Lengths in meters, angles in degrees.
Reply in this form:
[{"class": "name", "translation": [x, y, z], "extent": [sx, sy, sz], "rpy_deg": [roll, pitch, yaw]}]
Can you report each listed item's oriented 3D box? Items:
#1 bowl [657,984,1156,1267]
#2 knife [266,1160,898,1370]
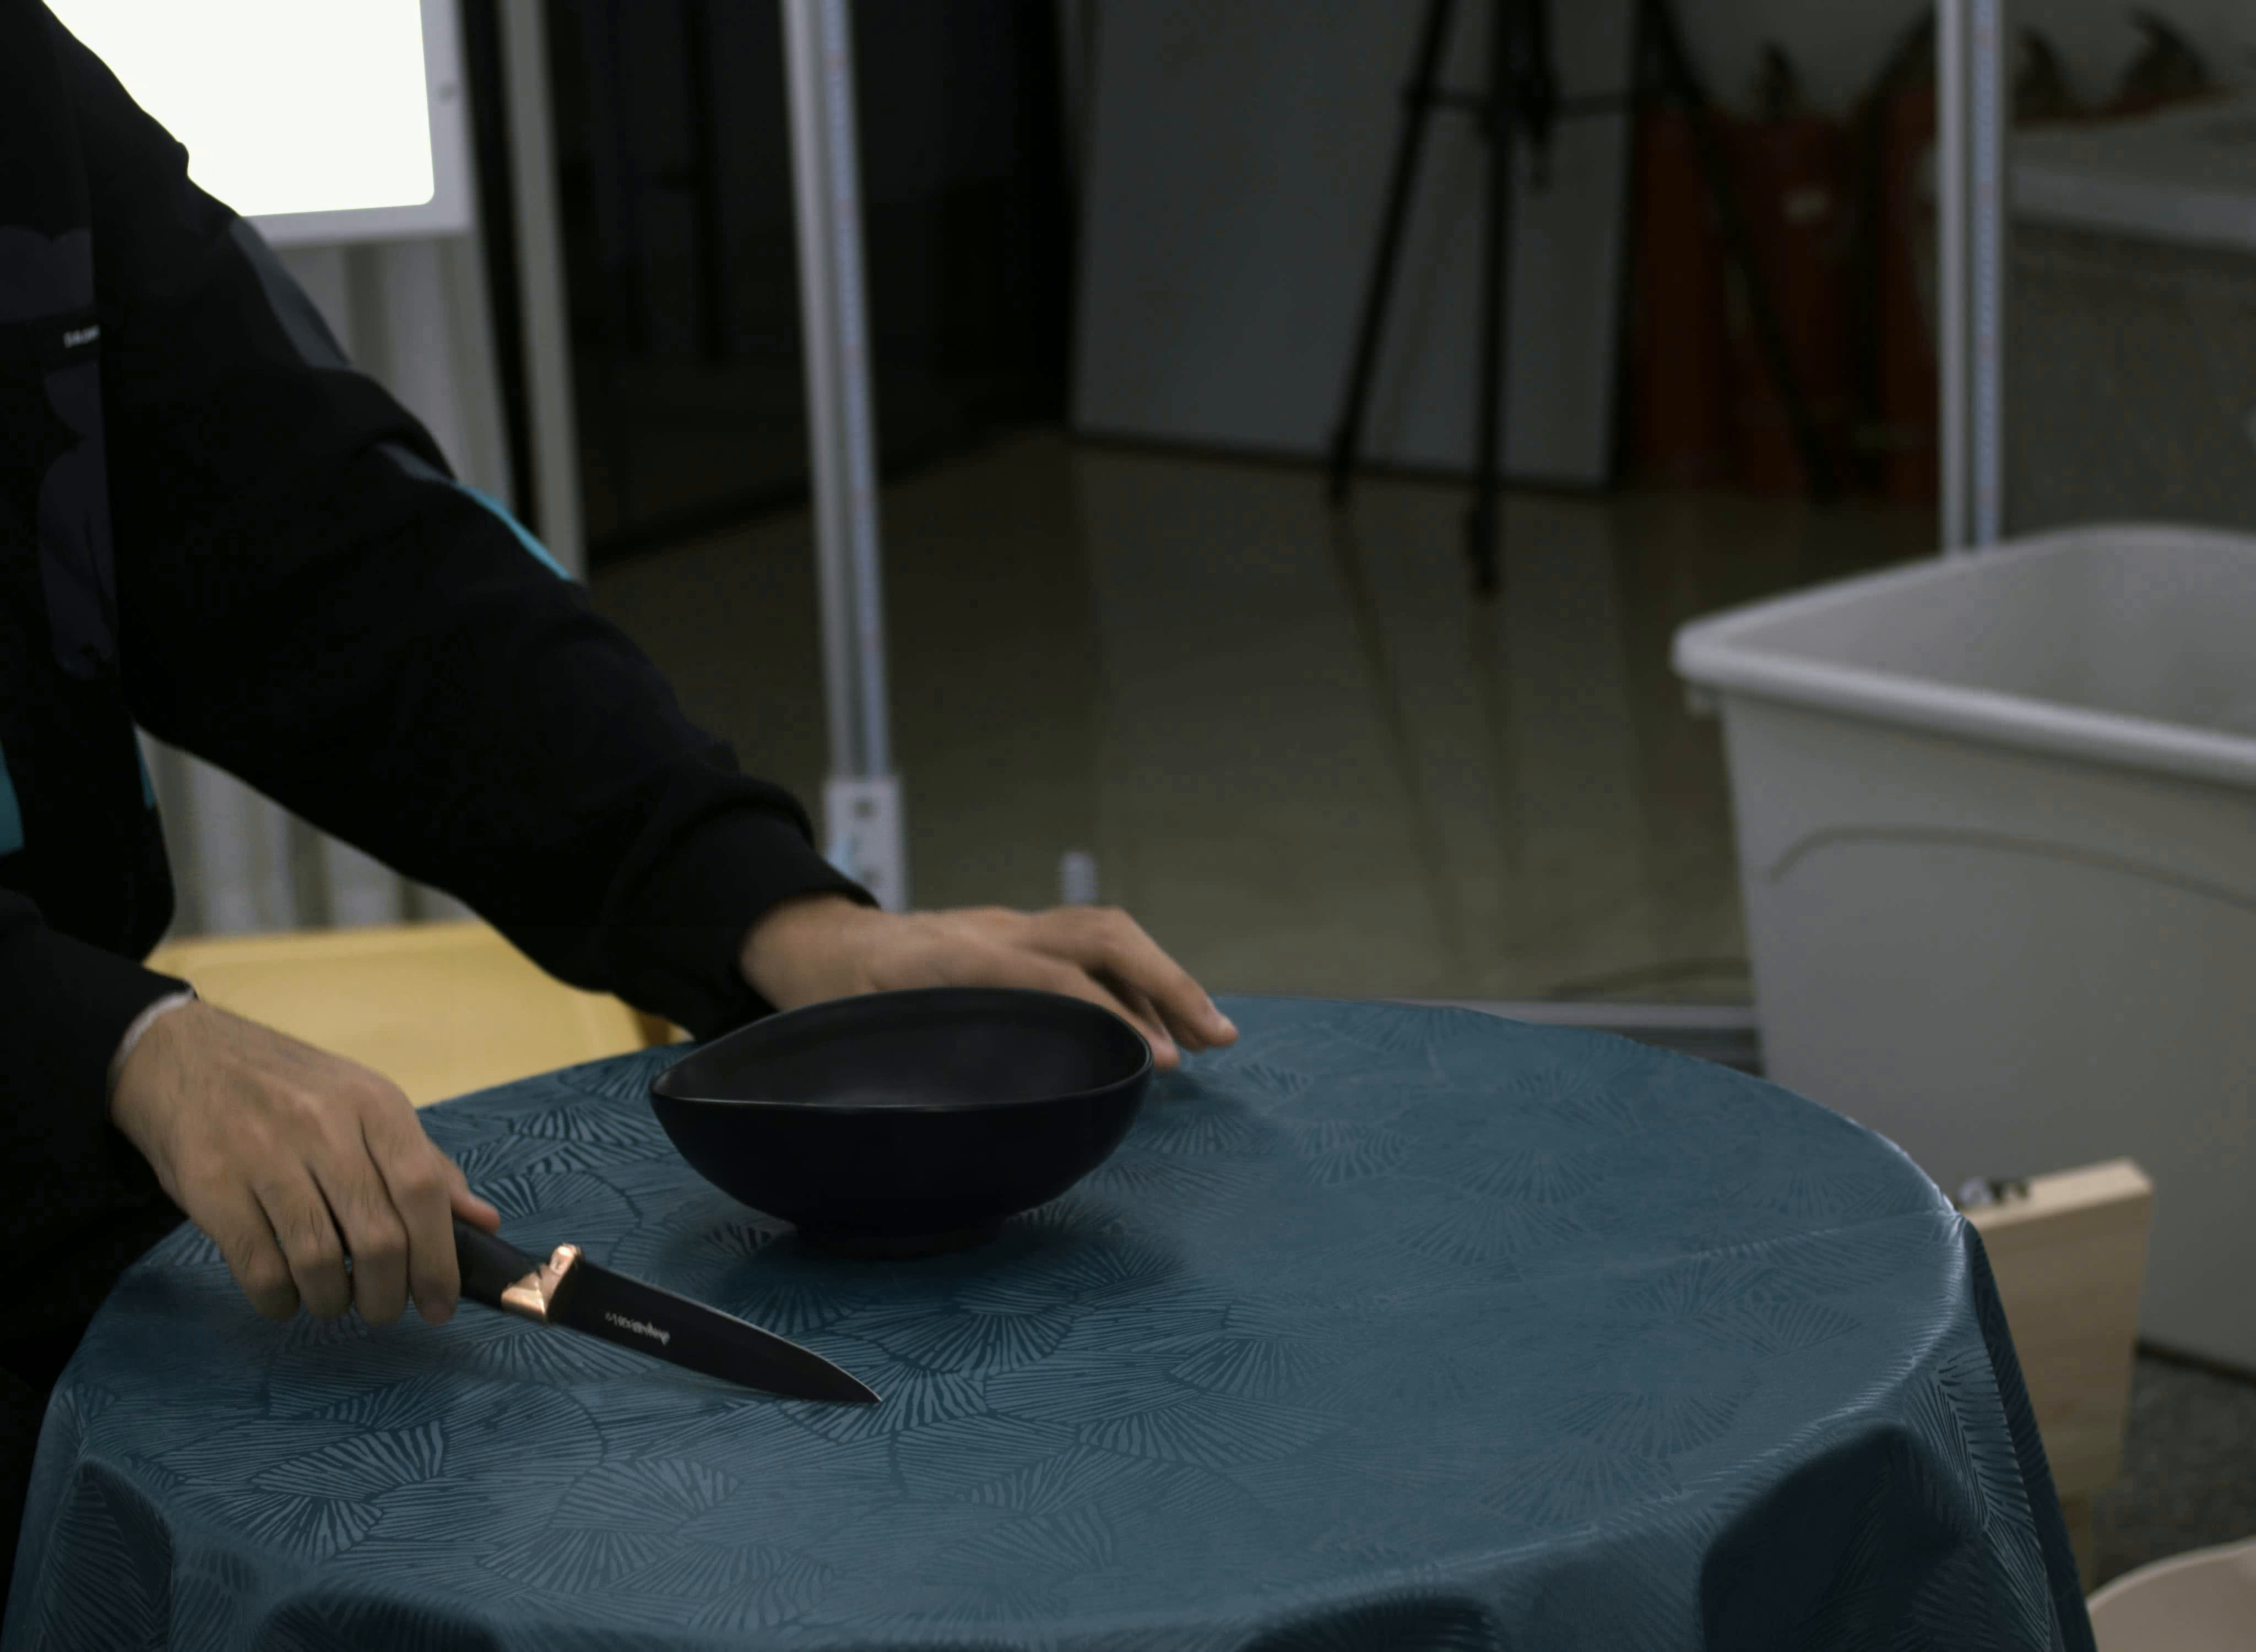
[{"class": "bowl", "translation": [-0.071, 0.101, 1.738], "extent": [0.170, 0.067, 0.136], "rpy_deg": [-2, 13, 19]}, {"class": "knife", "translation": [-0.167, 0.137, 1.635], "extent": [0.226, 0.026, 0.017], "rpy_deg": [15, -12, 27]}]
